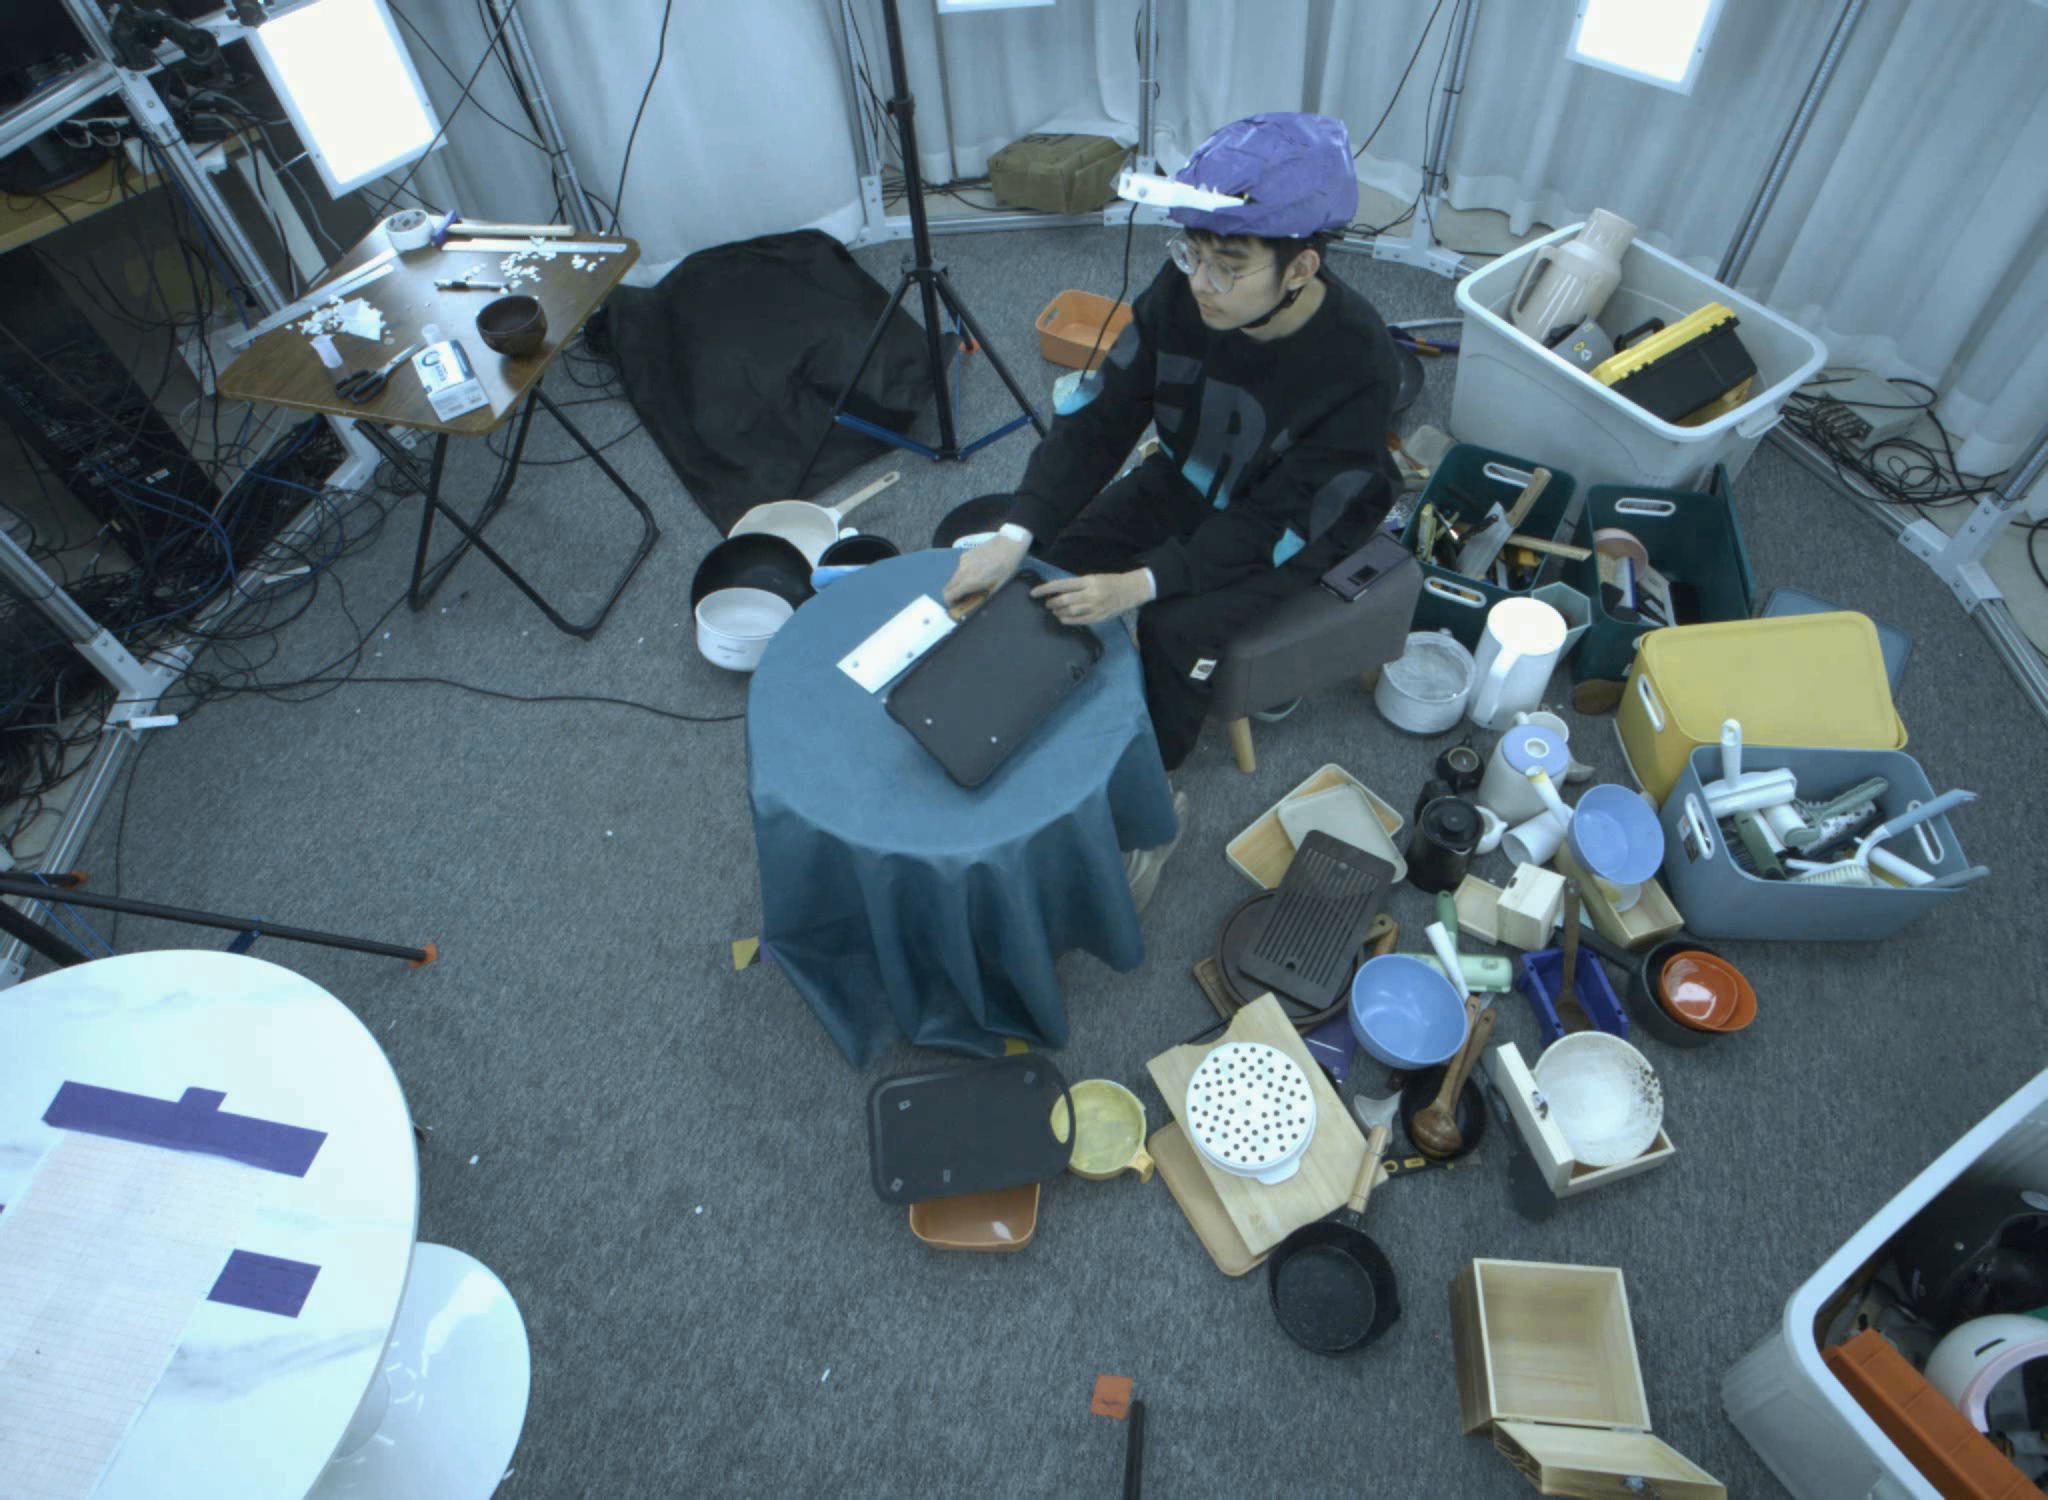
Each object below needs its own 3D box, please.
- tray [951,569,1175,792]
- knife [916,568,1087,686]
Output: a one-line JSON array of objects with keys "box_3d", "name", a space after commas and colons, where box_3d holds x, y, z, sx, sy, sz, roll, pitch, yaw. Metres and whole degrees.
[{"box_3d": [0.059, -0.102, 1.772, 0.319, 0.036, 0.185, -44, 97, -21], "name": "tray"}, {"box_3d": [-0.038, -0.208, 1.926, 0.308, 0.021, 0.091, -38, 60, -19], "name": "knife"}]
